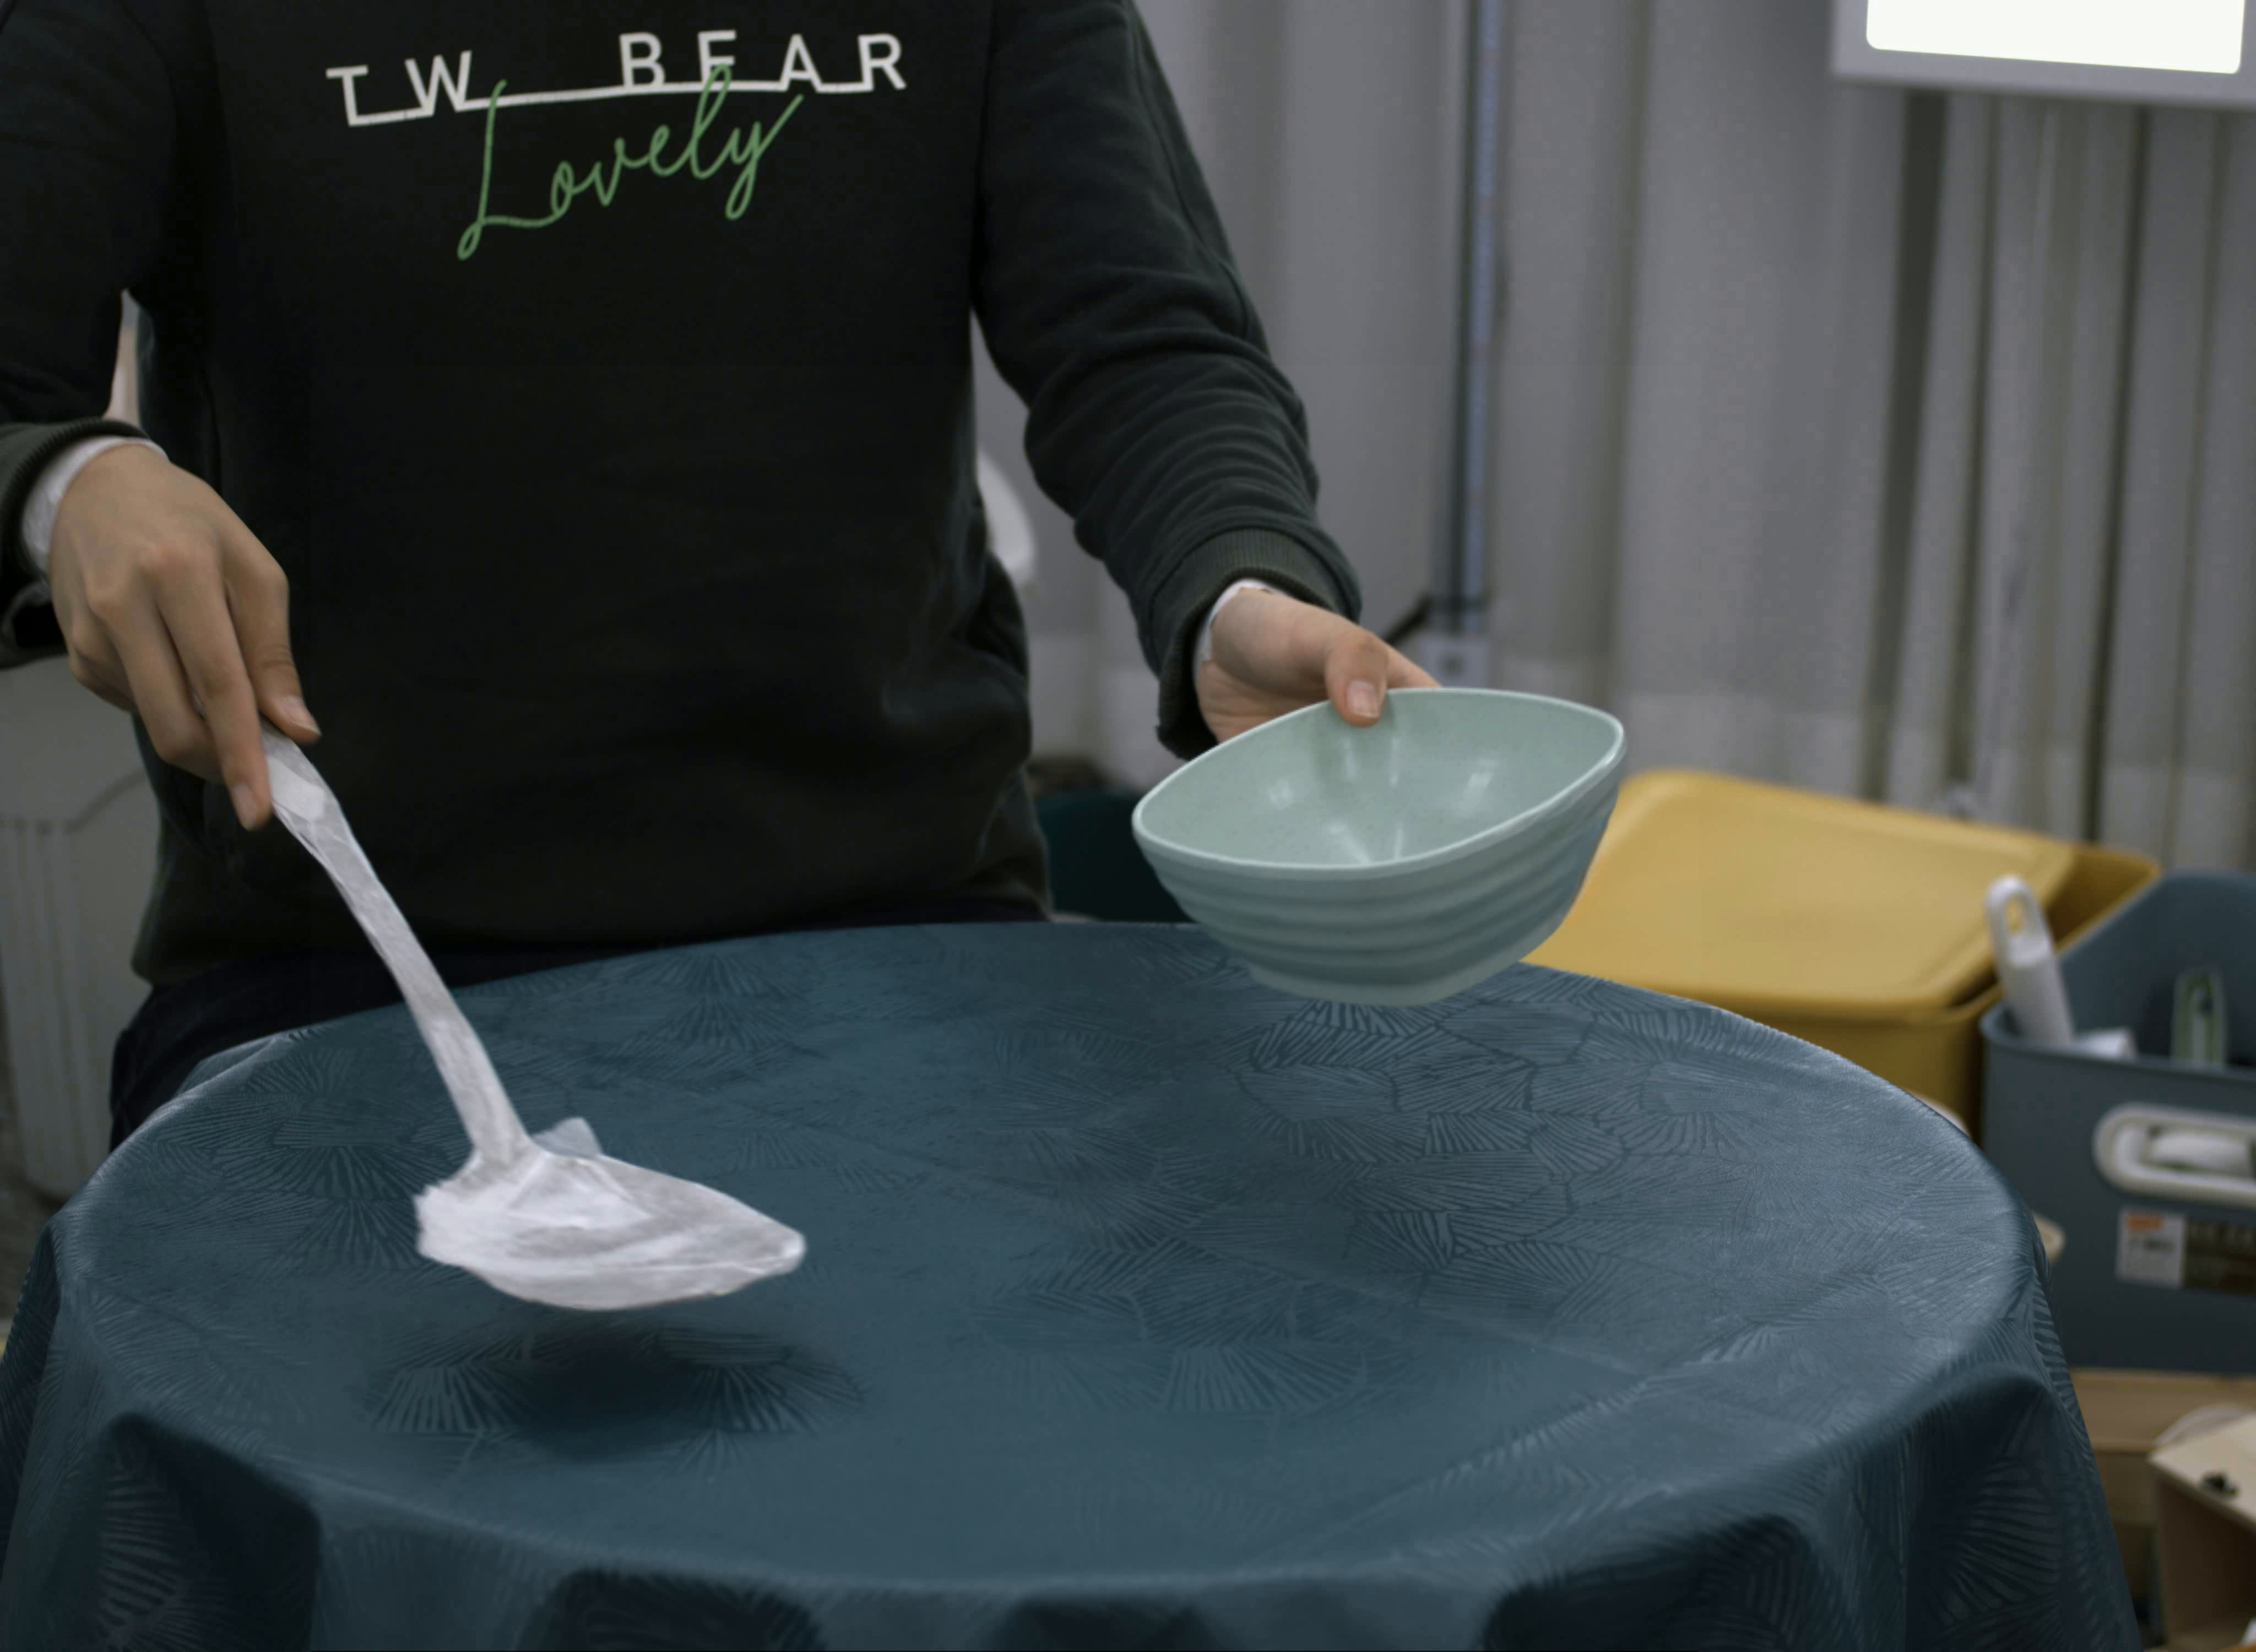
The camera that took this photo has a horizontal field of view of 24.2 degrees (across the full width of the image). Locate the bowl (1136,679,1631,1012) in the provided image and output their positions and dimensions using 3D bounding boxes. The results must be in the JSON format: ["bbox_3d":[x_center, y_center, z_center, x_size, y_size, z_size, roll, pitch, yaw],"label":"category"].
[{"bbox_3d":[0.081,0.010,1.597,0.151,0.059,0.150,-8,23,4],"label":"bowl"}]

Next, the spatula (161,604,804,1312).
[{"bbox_3d":[-0.214,0.029,1.550,0.099,0.045,0.360,-8,45,-33],"label":"spatula"}]
